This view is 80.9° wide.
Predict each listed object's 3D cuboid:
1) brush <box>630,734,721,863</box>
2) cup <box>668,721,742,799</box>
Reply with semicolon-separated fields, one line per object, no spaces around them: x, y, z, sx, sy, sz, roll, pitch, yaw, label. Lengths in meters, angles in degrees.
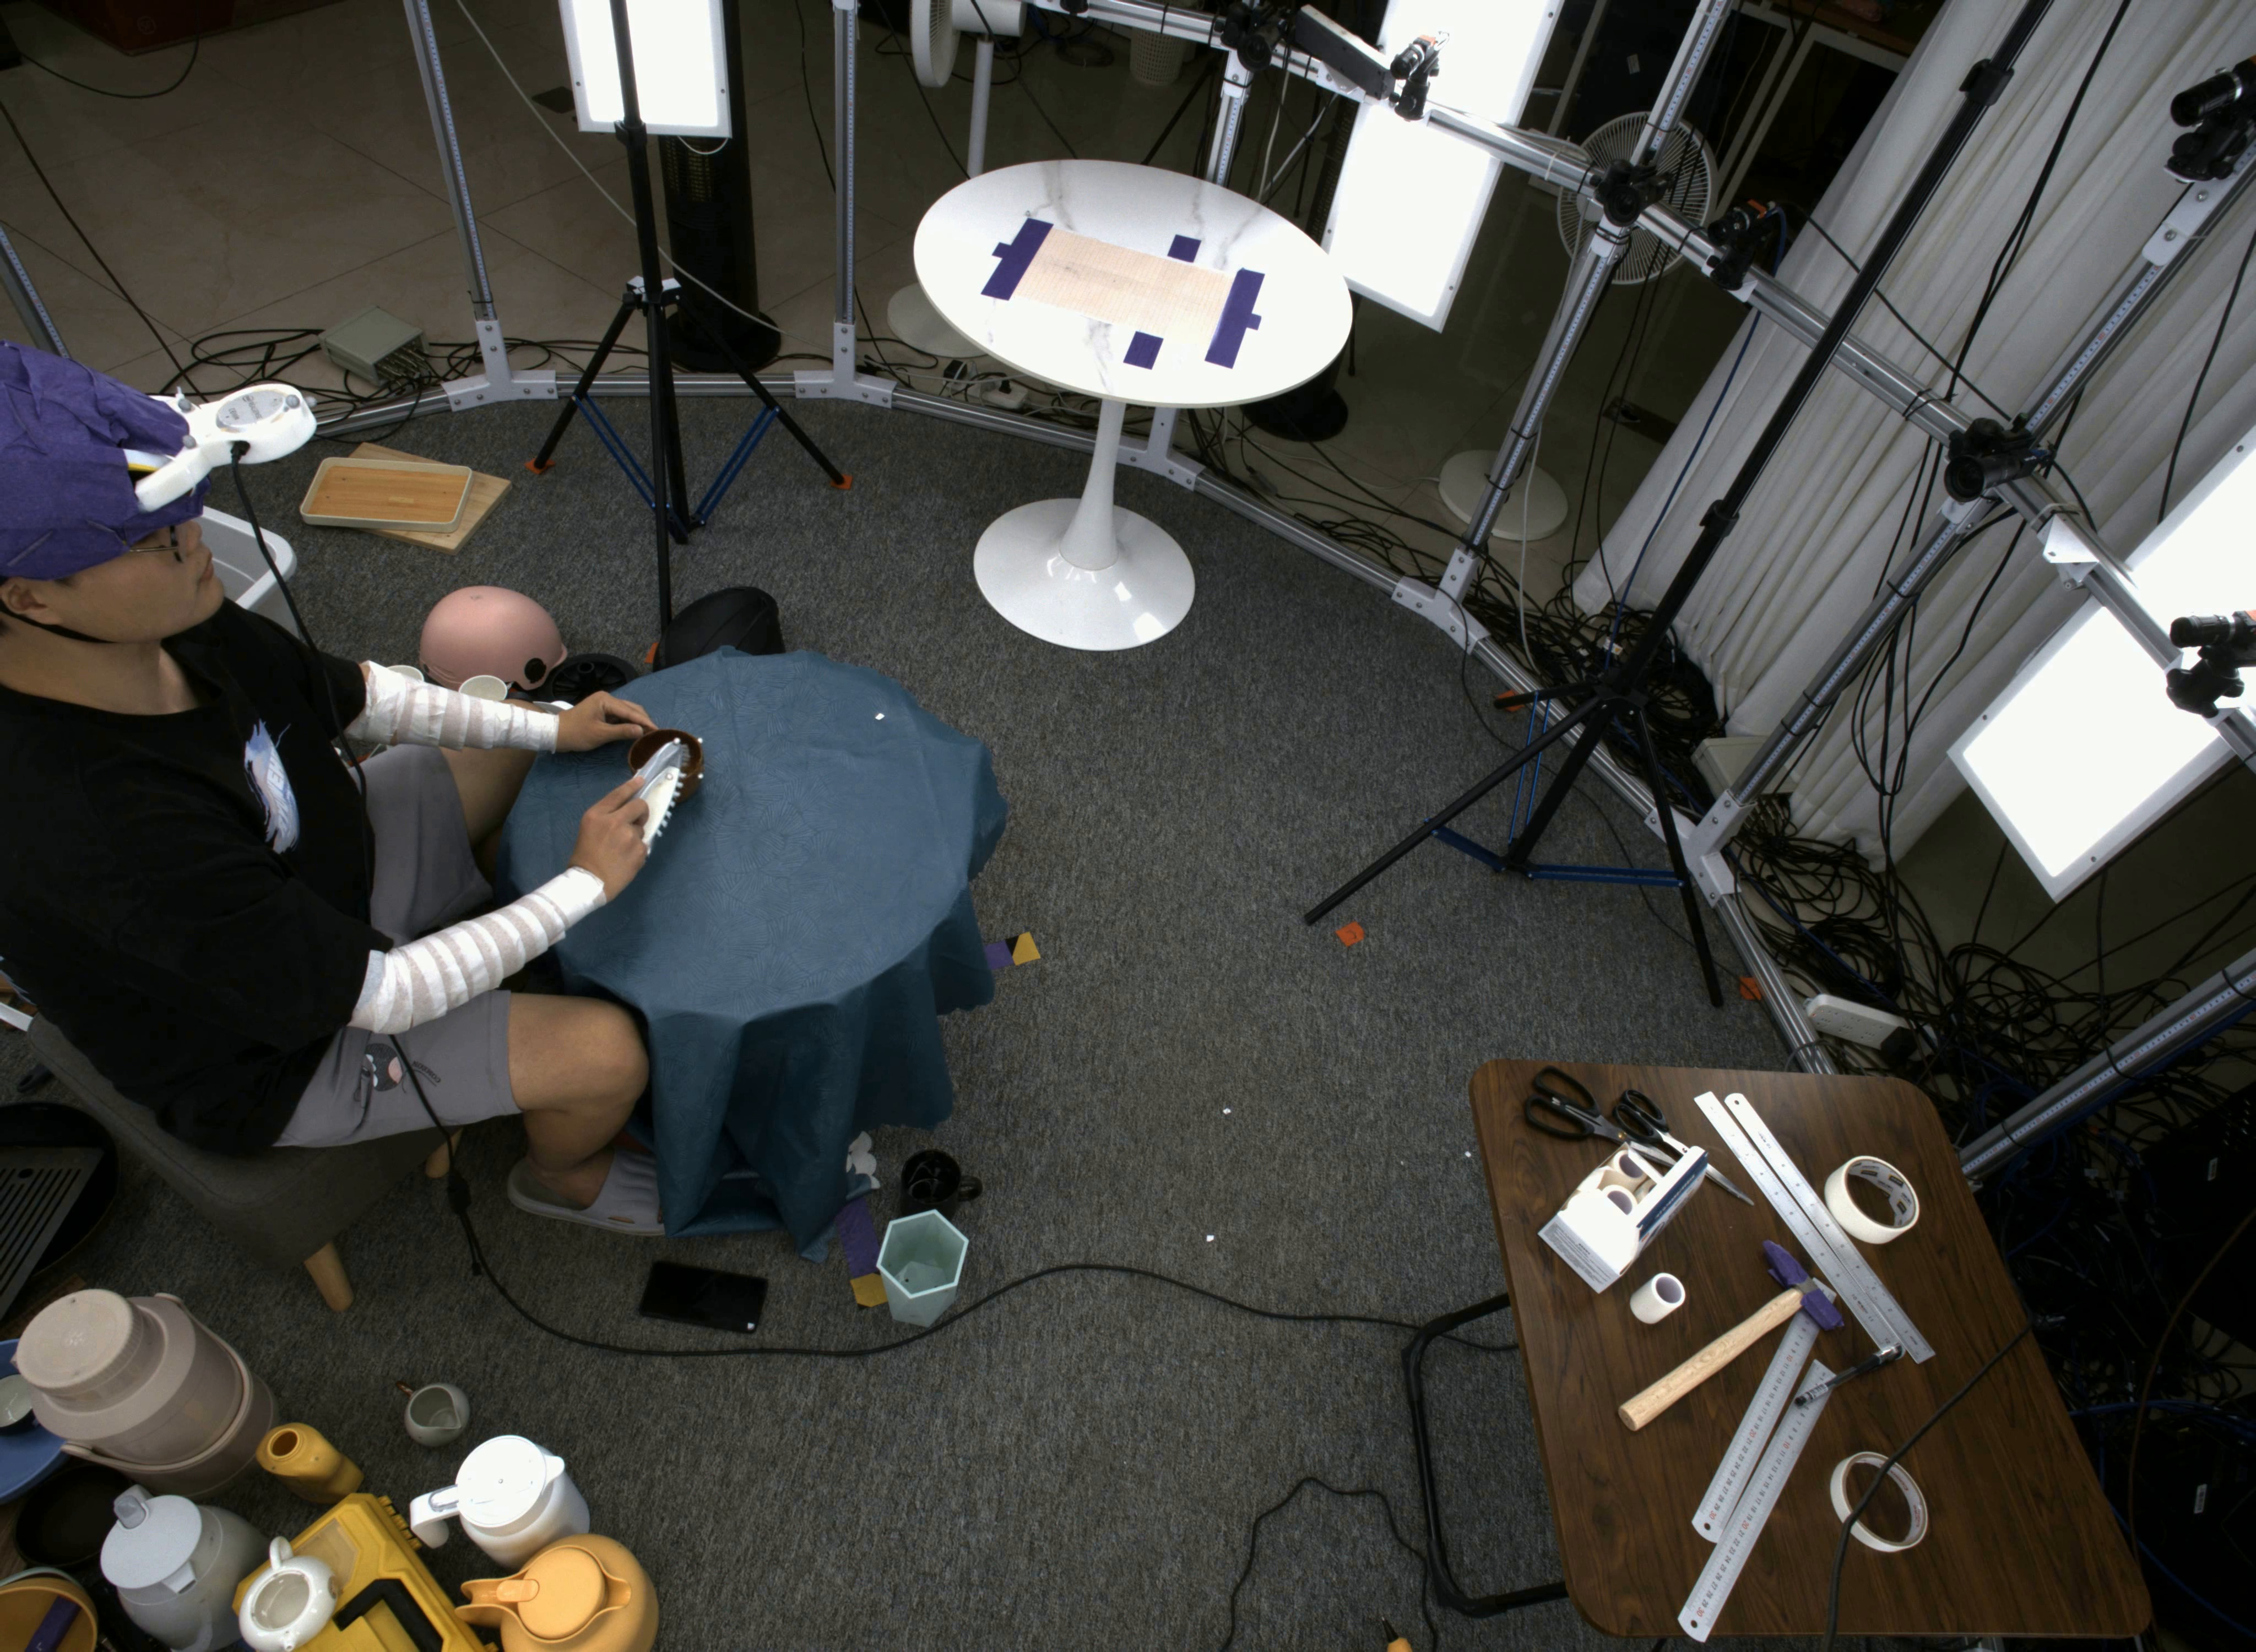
-0.563;-0.049;1.616;0.061;0.094;0.175;29;72;-4;brush
-0.567;-0.090;1.723;0.096;0.069;0.116;-28;63;-26;cup
